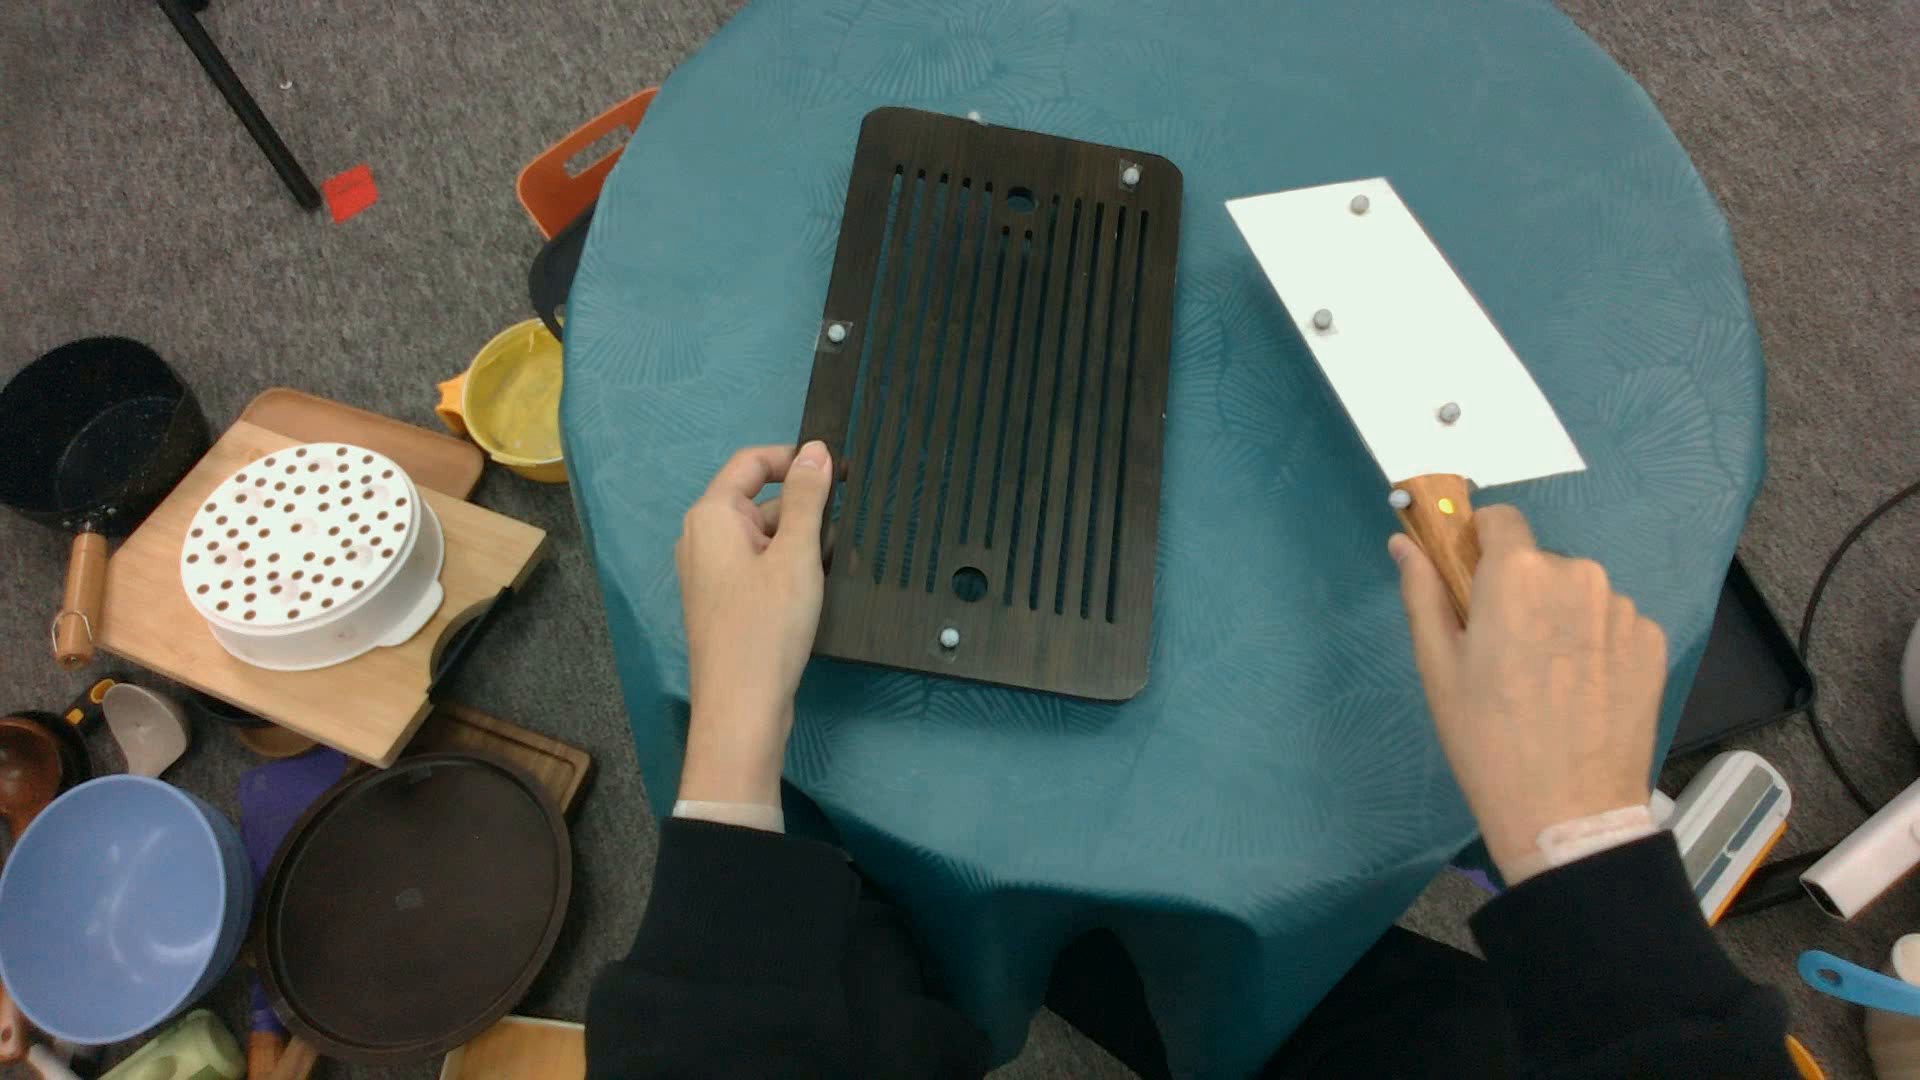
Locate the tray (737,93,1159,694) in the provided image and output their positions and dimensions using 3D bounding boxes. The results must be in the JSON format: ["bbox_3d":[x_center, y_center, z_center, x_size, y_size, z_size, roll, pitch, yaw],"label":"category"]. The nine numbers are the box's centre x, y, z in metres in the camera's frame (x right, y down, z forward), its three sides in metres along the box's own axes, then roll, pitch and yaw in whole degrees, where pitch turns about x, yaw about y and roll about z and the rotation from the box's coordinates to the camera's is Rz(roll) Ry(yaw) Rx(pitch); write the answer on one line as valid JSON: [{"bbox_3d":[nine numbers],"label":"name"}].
[{"bbox_3d":[0.004,-0.080,0.656,0.170,0.018,0.307,10,64,-5],"label":"tray"}]

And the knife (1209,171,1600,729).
[{"bbox_3d":[0.205,-0.059,0.601,0.093,0.021,0.306,-10,56,-15],"label":"knife"}]
